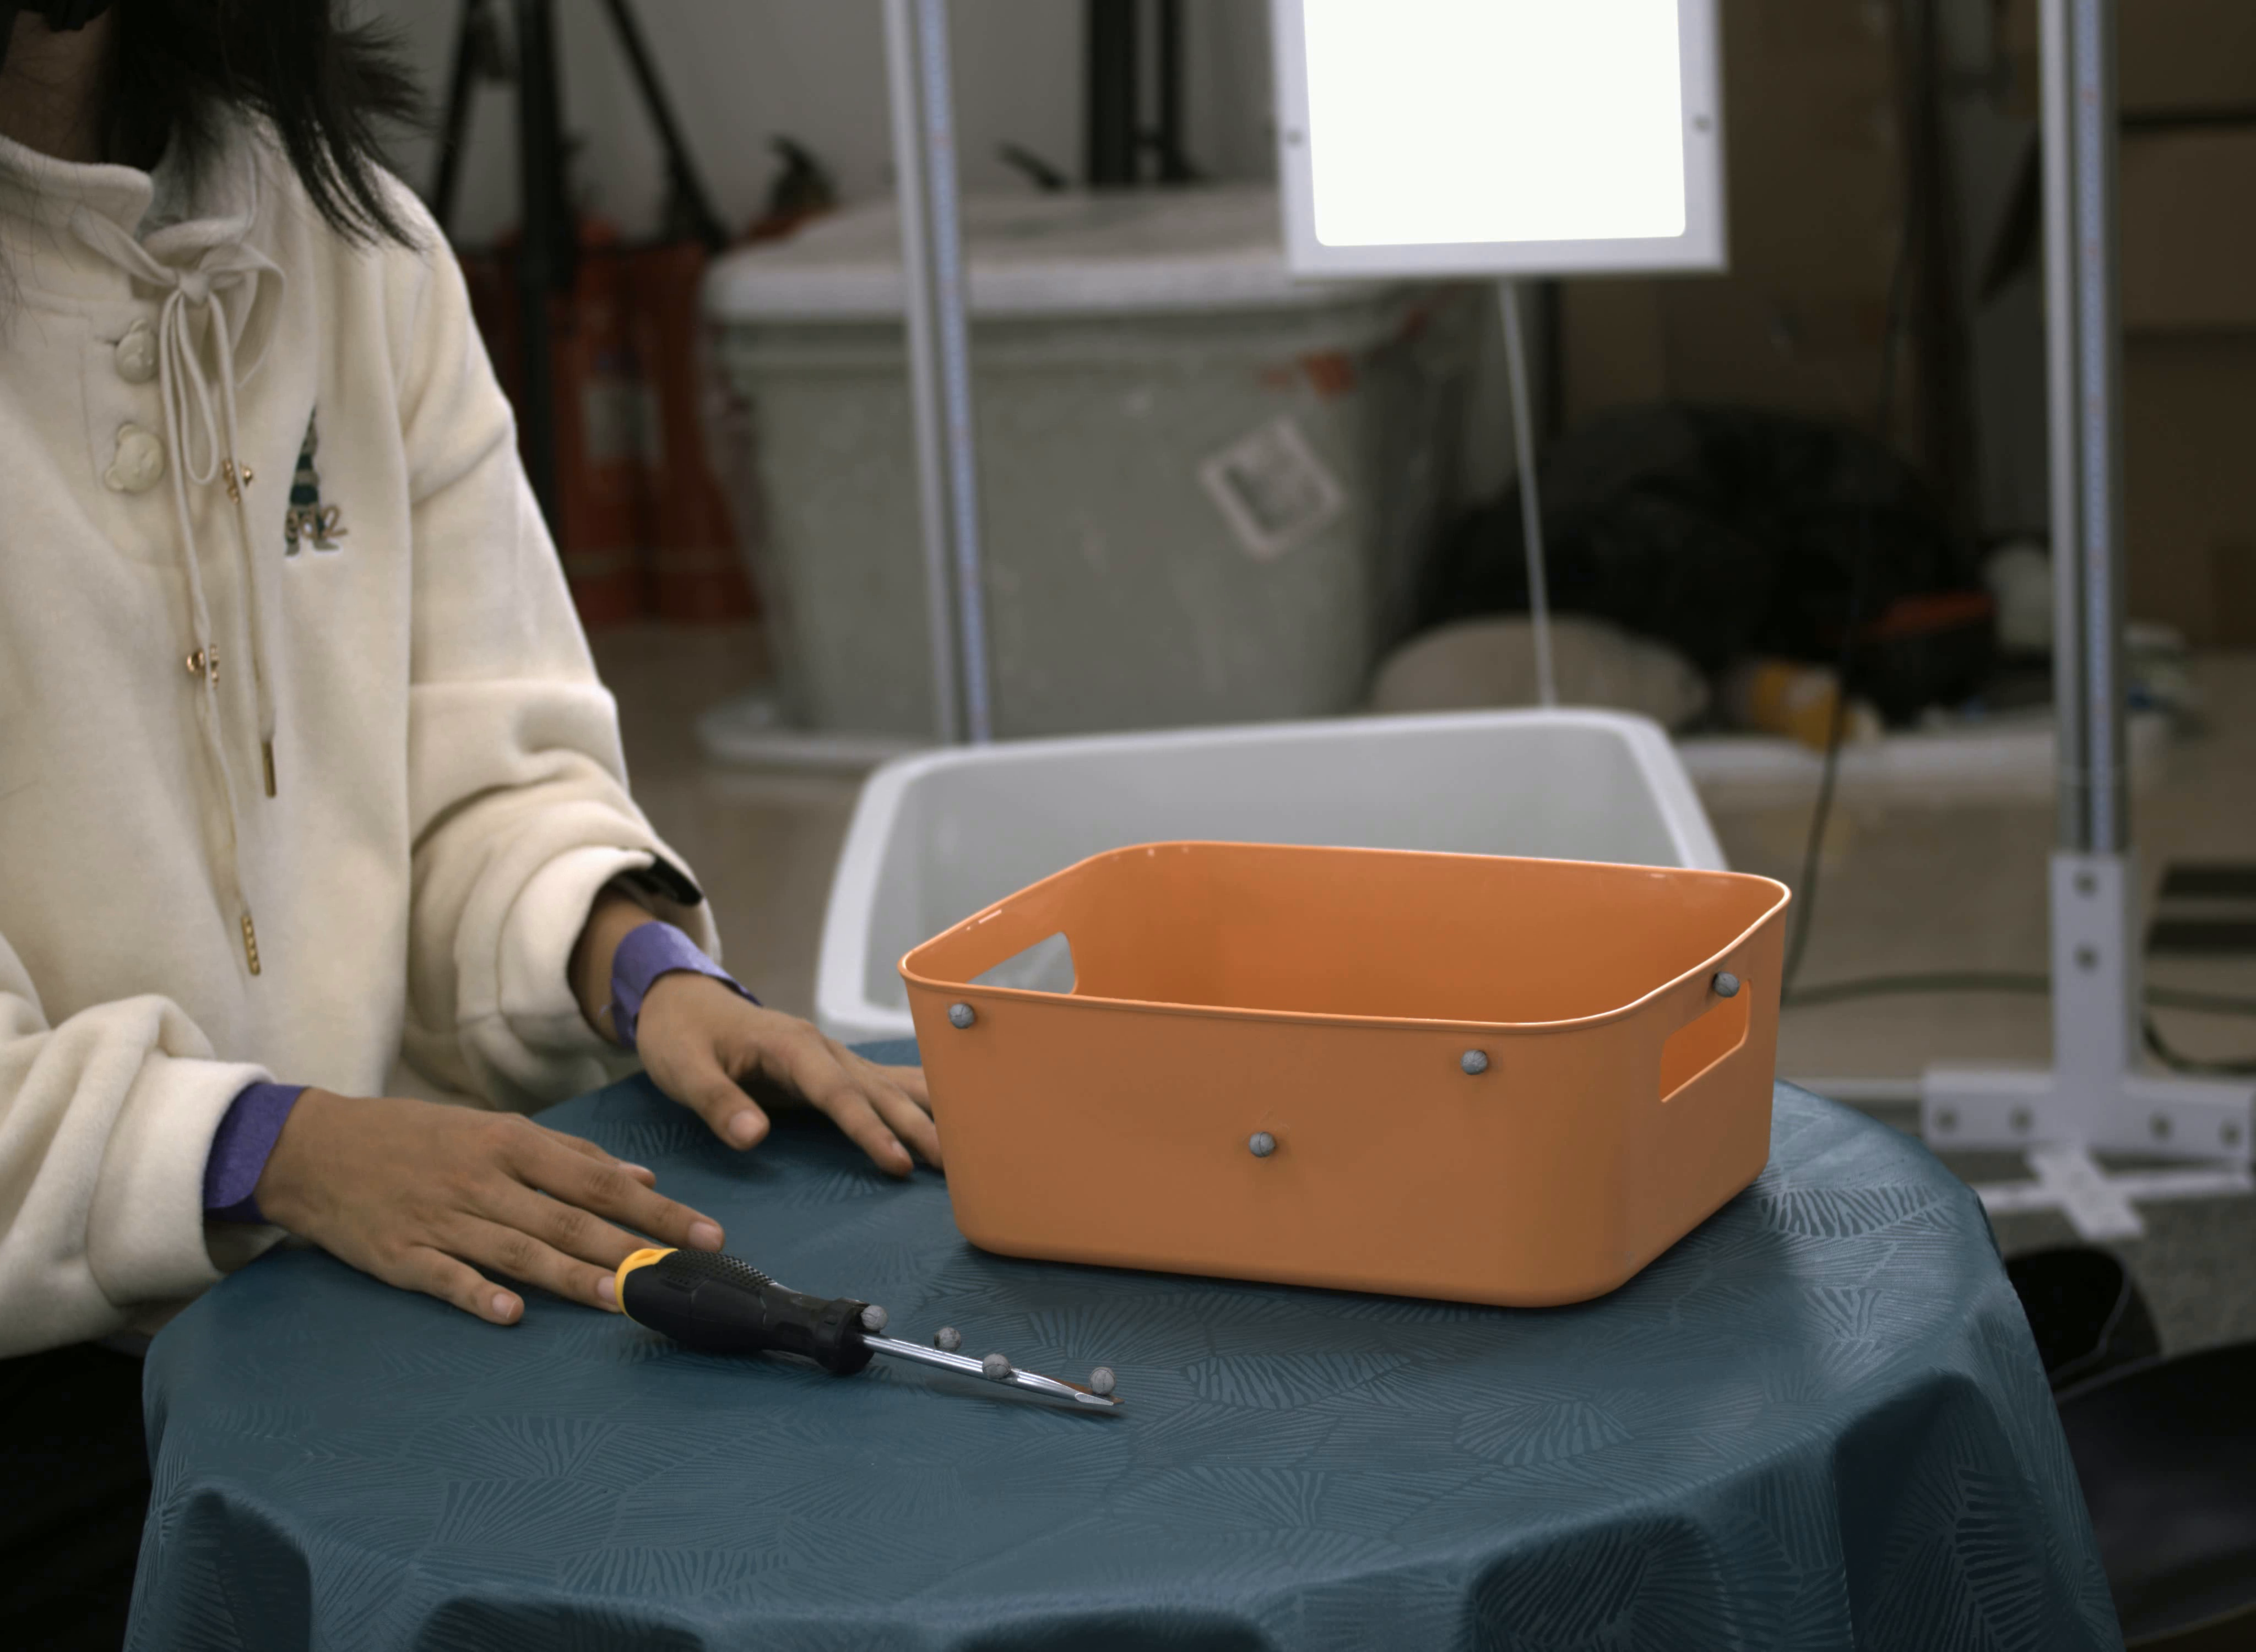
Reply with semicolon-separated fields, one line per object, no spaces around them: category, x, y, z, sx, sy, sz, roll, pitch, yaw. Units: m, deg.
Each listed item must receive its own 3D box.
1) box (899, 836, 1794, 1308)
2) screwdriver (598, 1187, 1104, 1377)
box;0.077;0.080;1.842;0.278;0.103;0.195;3;17;30
screwdriver;-0.087;0.148;1.747;0.201;0.031;0.031;14;21;32
